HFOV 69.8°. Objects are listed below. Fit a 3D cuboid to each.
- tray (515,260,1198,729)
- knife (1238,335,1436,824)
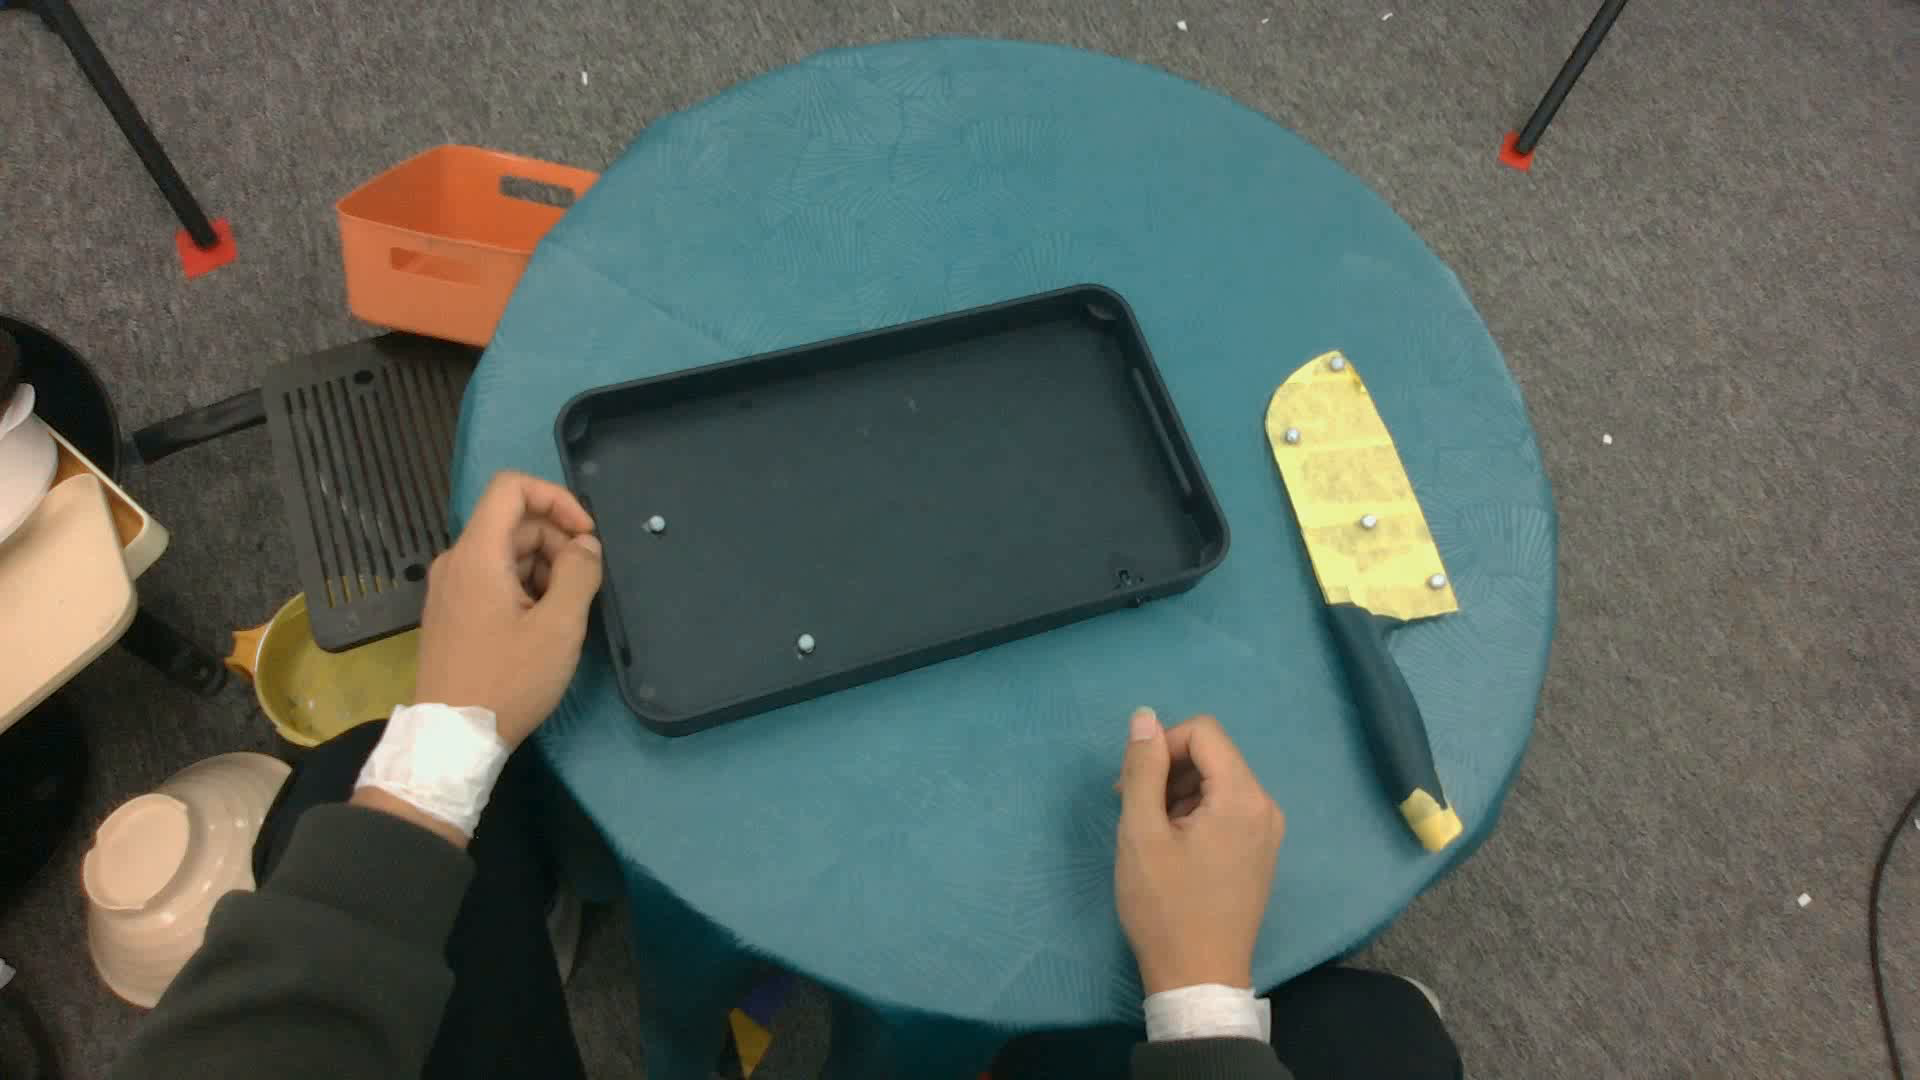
[{"bbox_3d":[-0.050,-0.031,0.714,0.318,0.037,0.184,-17,70,-16],"label":"tray"},{"bbox_3d":[0.214,0.010,0.749,0.081,0.027,0.290,-6,66,-10],"label":"knife"}]
